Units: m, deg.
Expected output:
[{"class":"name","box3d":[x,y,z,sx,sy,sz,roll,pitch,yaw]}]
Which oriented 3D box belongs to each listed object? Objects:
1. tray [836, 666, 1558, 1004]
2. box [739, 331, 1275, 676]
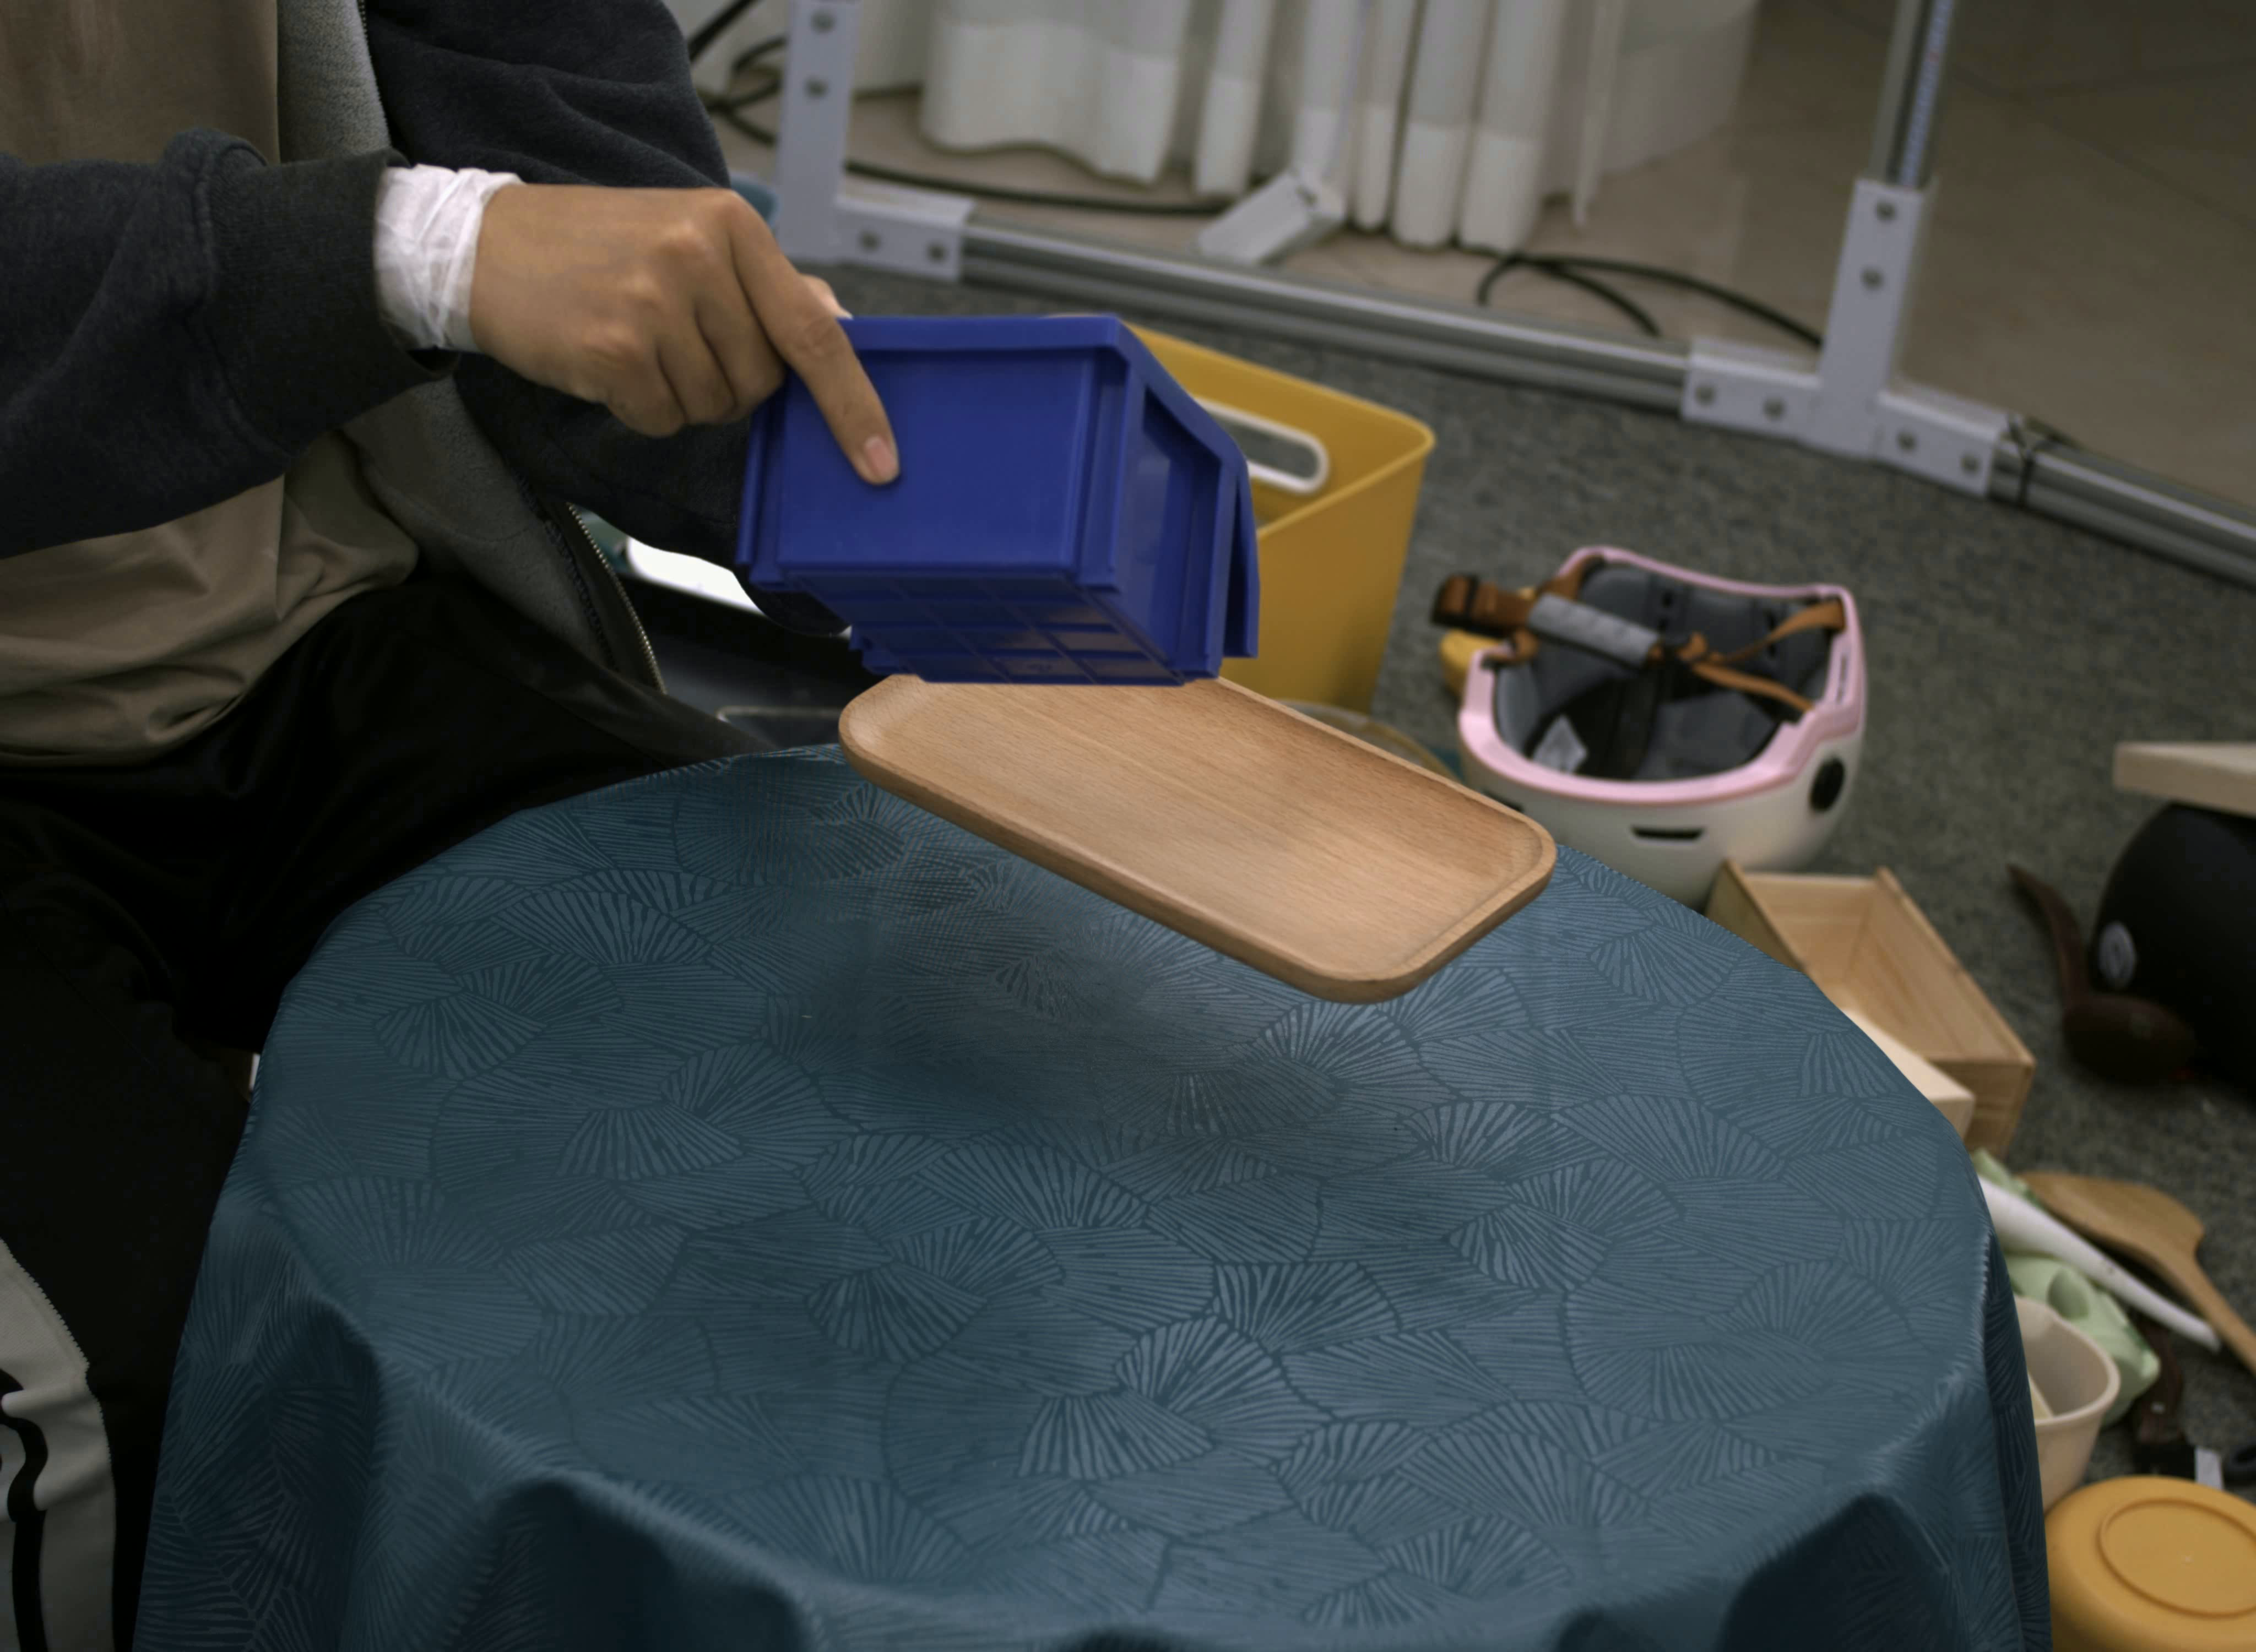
[{"class":"tray","box3d":[0.022,-0.010,1.858,0.252,0.023,0.130,25,37,32]},{"class":"box","box3d":[-0.038,-0.099,1.718,0.125,0.082,0.178,1,-9,21]}]
